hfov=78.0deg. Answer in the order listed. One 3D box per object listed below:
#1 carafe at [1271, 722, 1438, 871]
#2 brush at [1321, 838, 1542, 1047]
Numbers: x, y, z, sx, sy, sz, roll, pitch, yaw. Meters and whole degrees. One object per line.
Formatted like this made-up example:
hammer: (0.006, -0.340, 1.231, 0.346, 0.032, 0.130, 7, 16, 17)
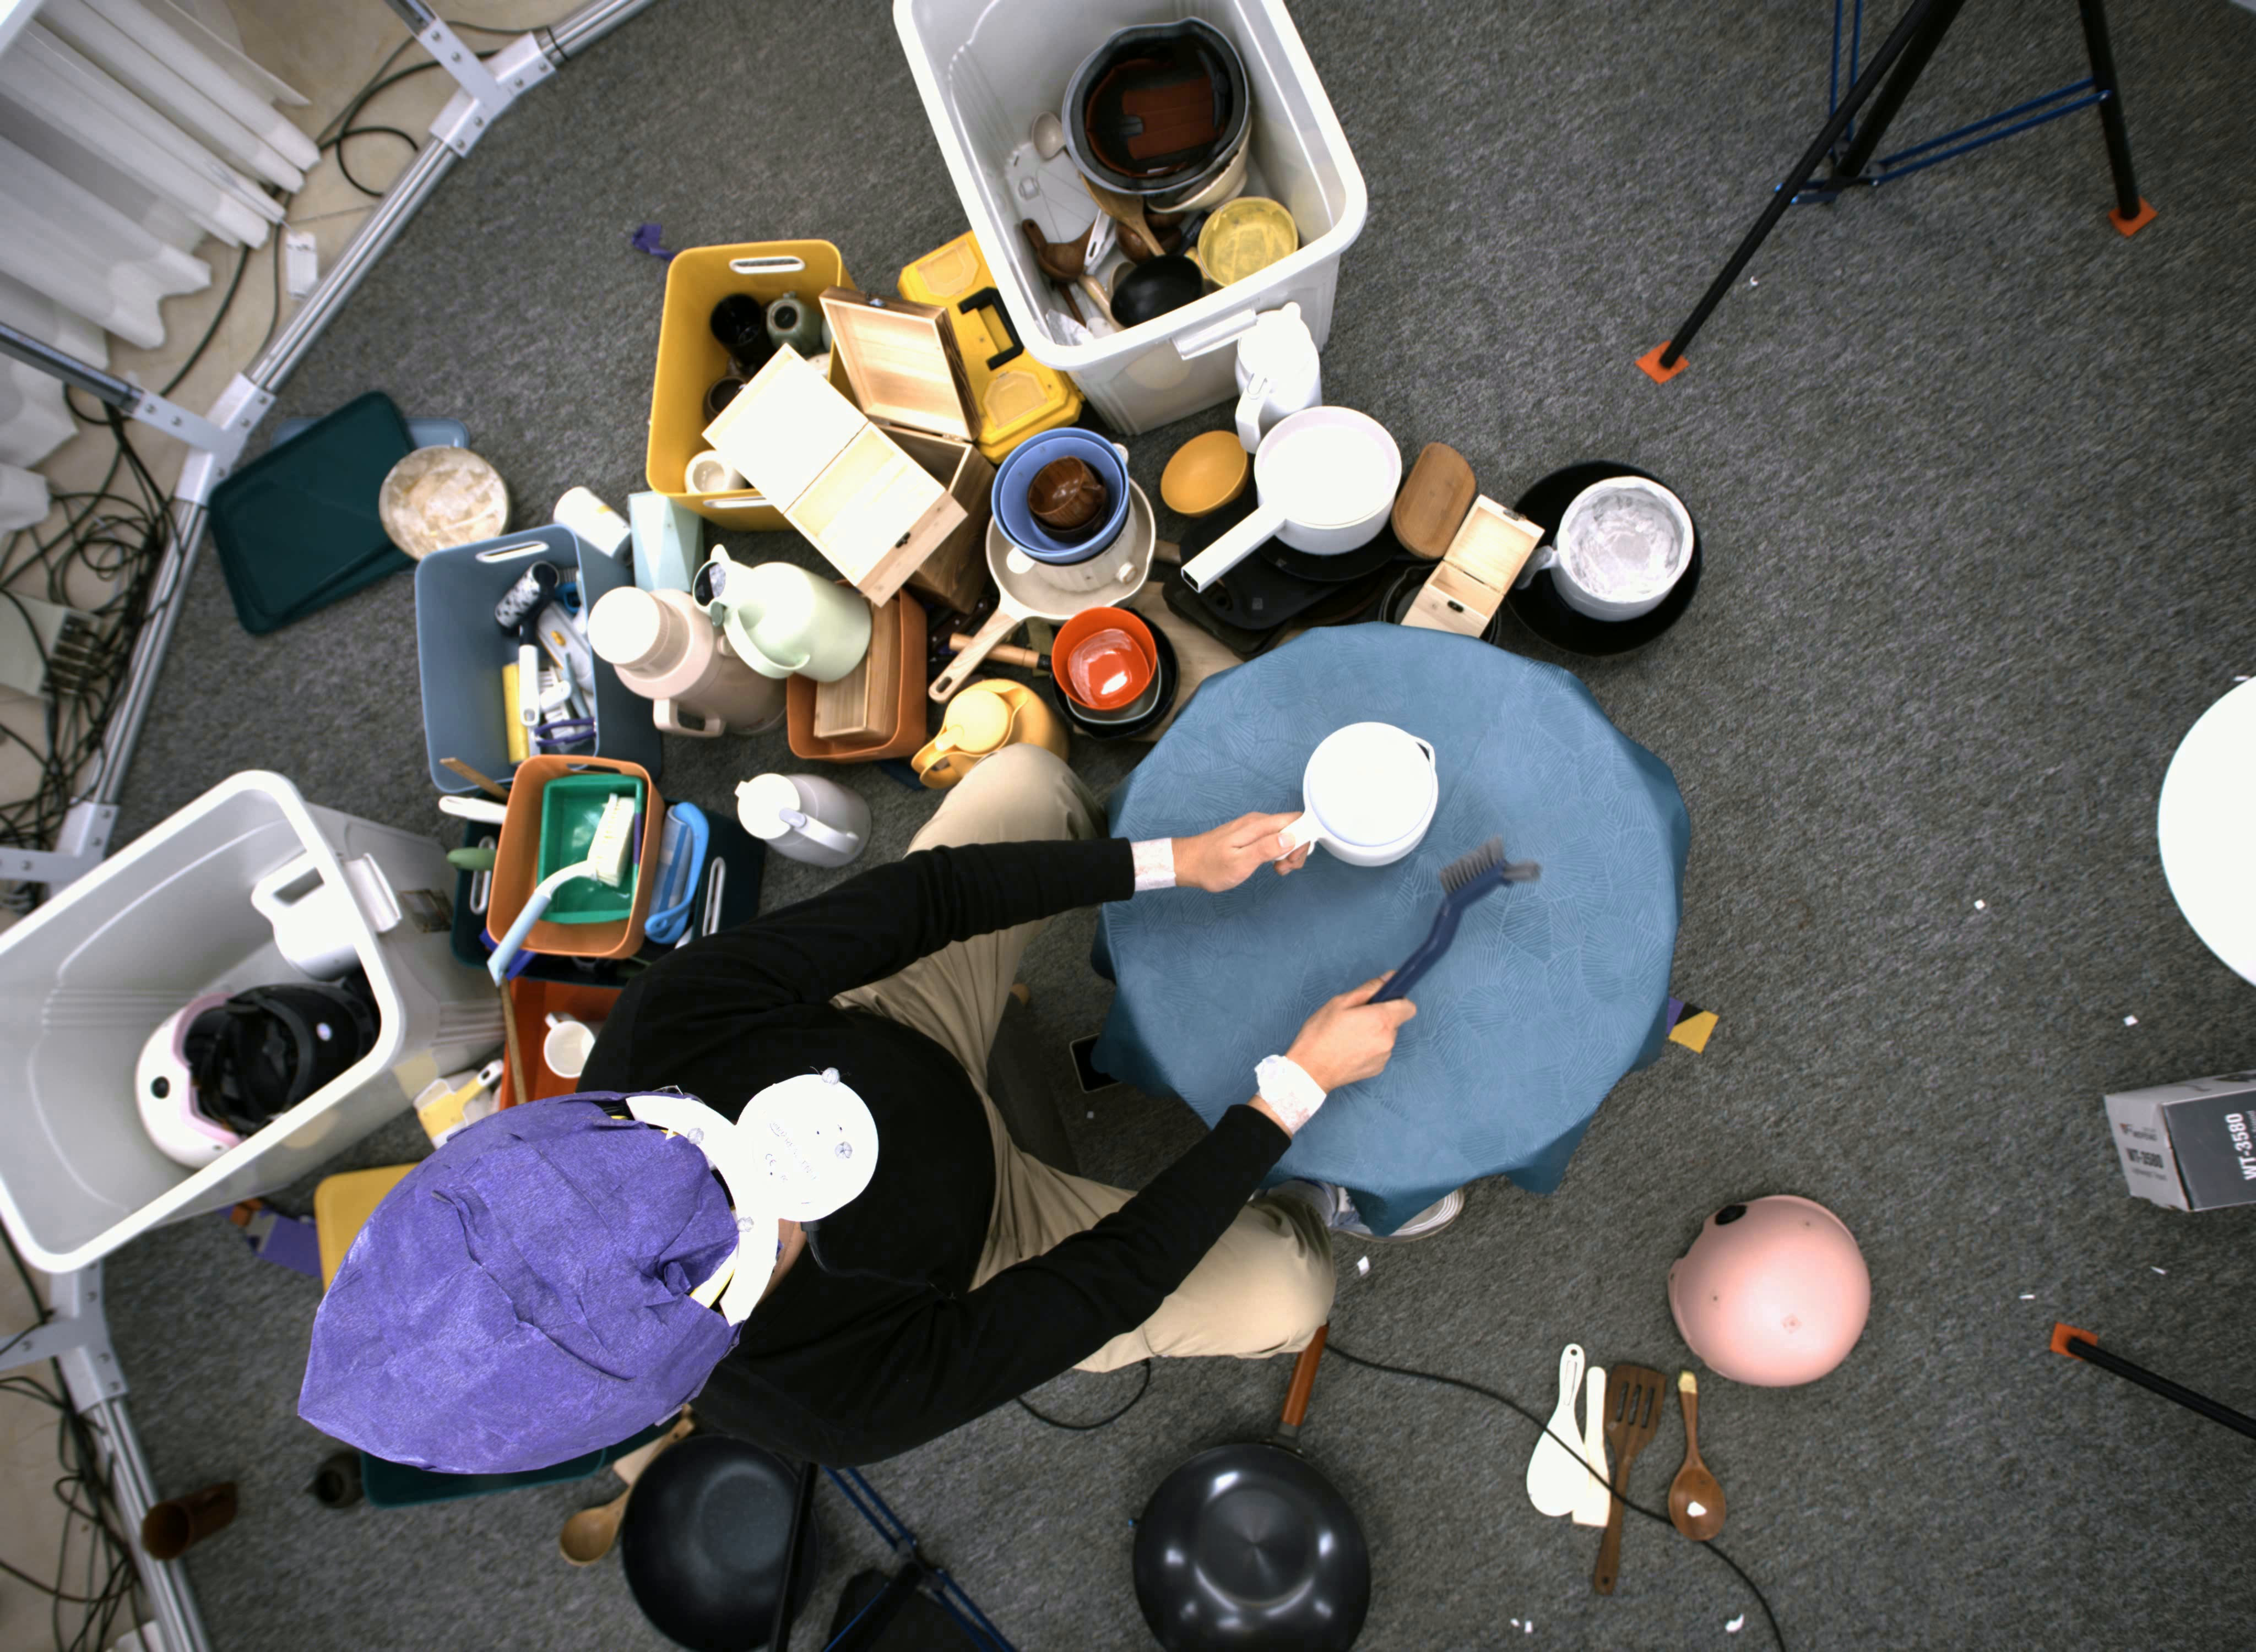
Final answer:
carafe: (0.222, -0.018, 1.387, 0.192, 0.182, 0.131, -34, 80, 7)
brush: (0.289, 0.126, 1.348, 0.277, 0.033, 0.094, -59, 44, 18)
